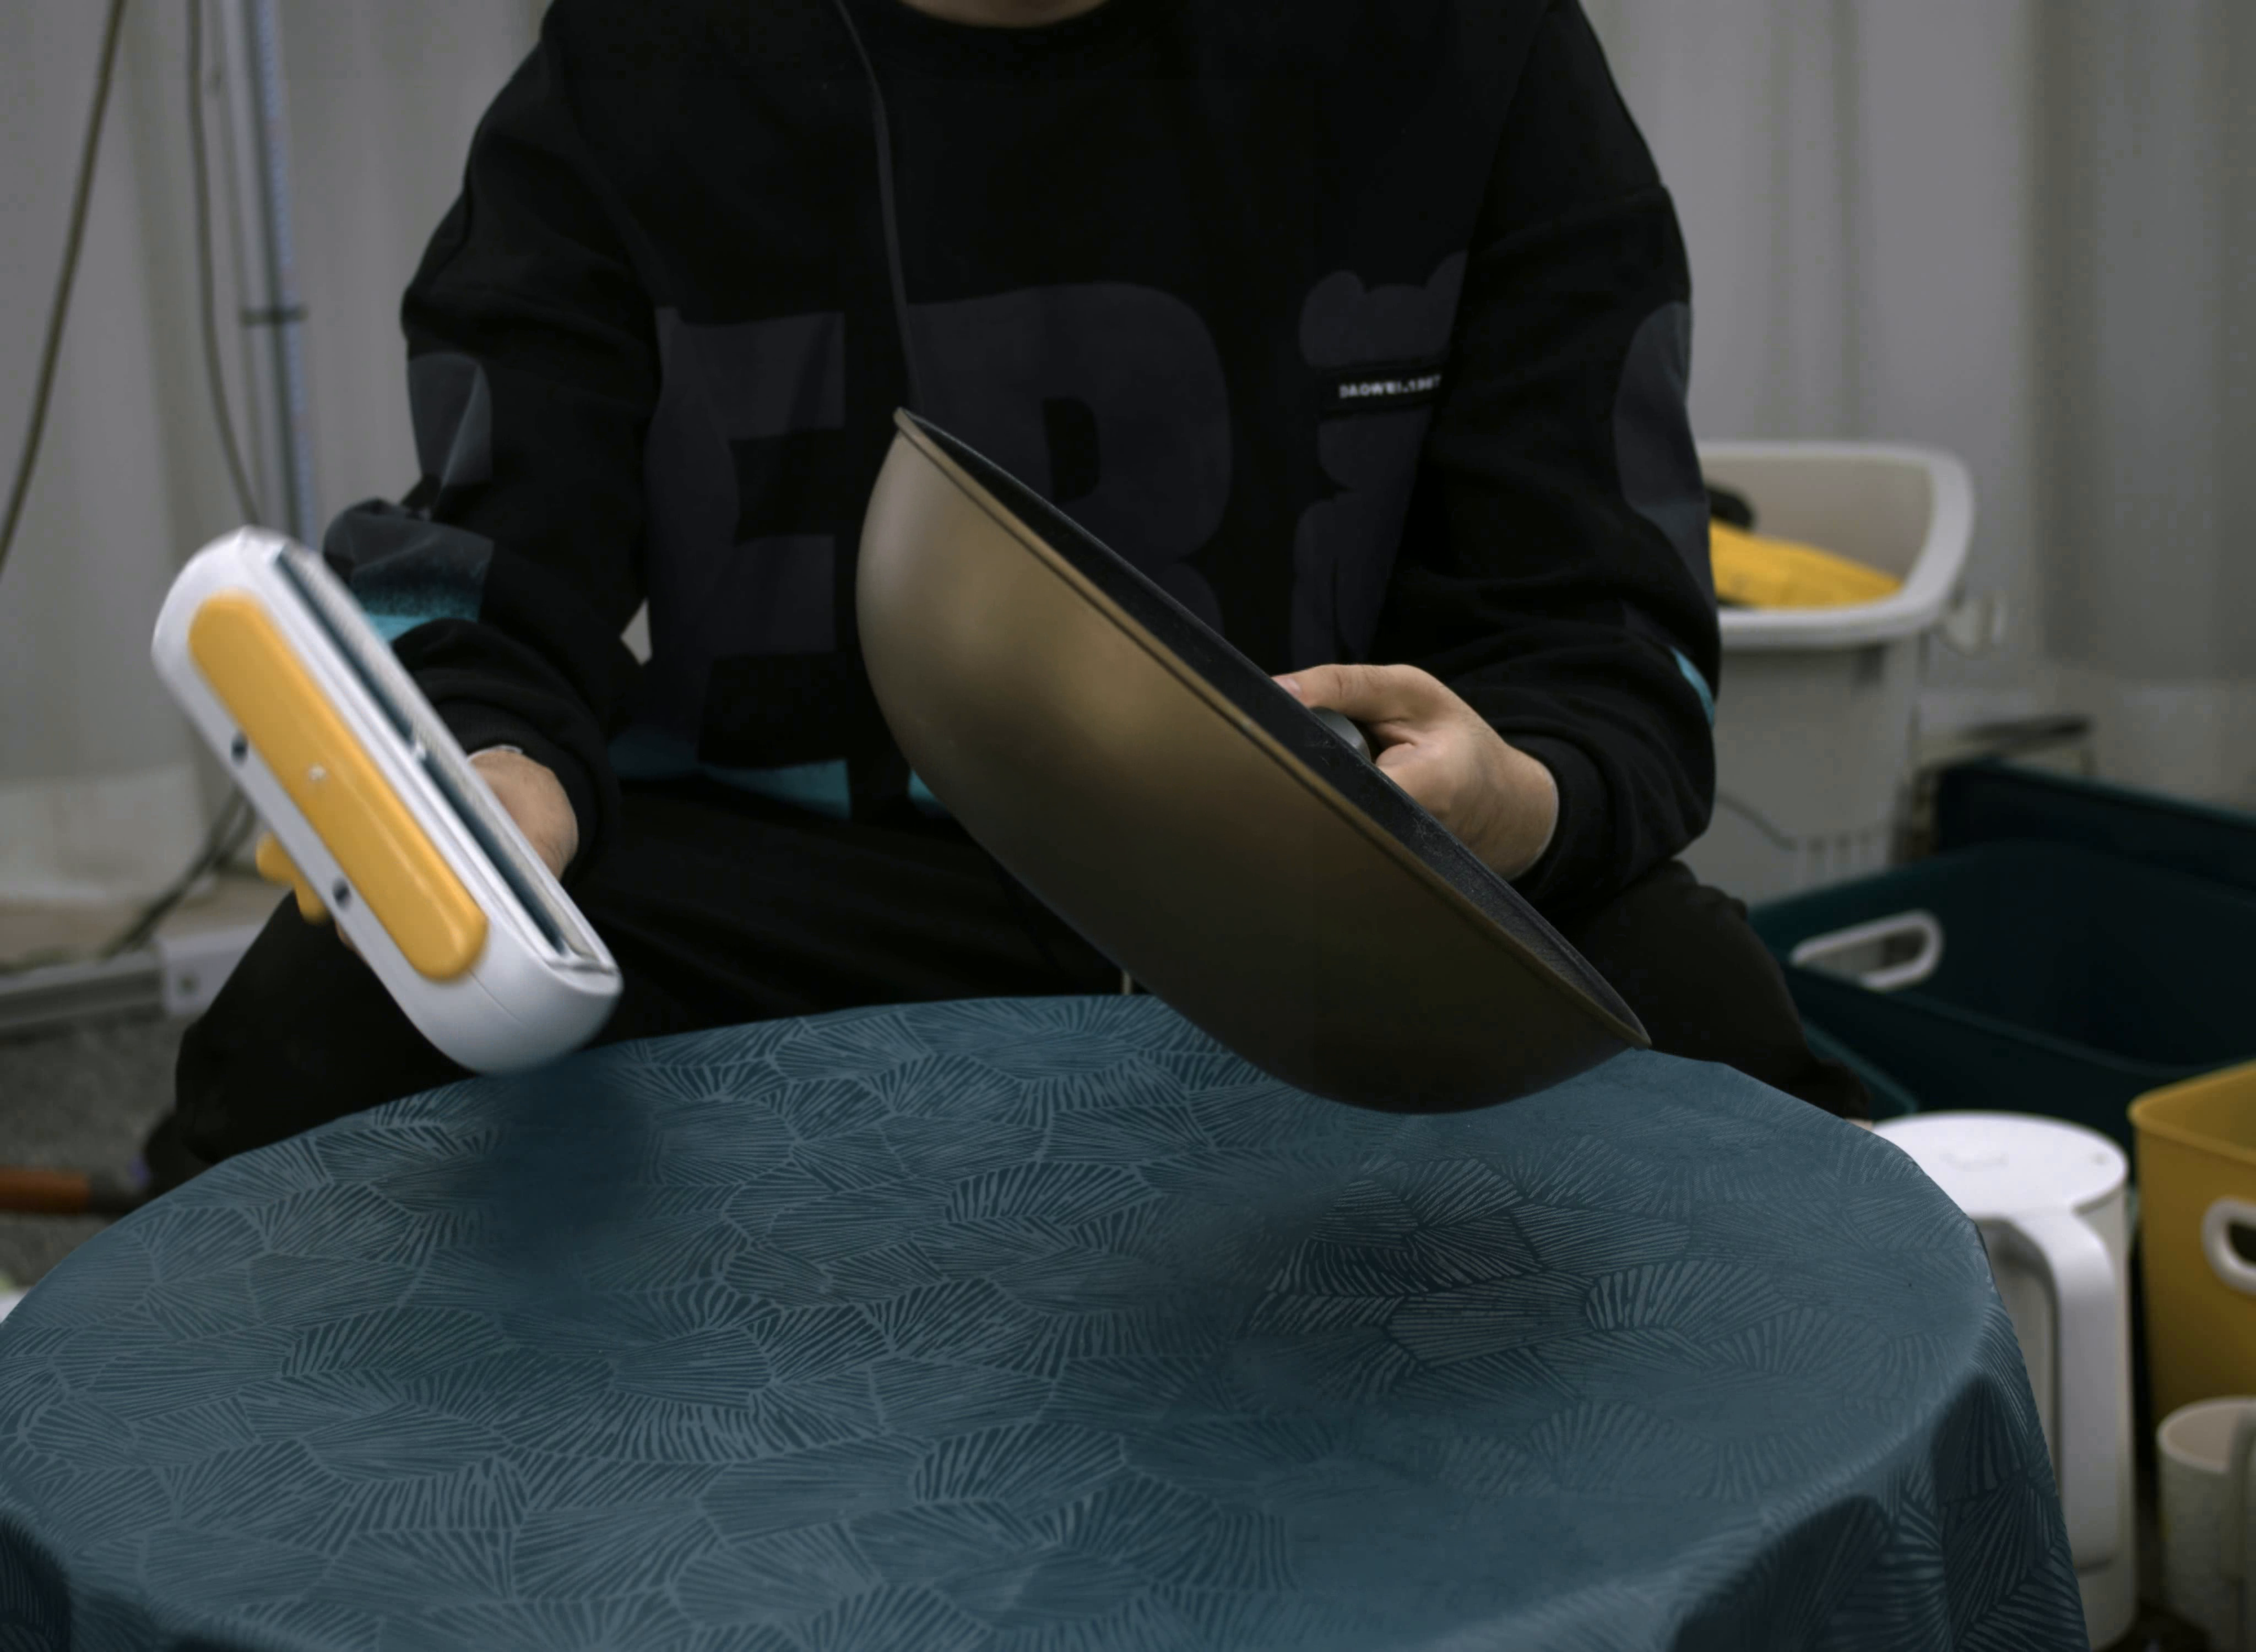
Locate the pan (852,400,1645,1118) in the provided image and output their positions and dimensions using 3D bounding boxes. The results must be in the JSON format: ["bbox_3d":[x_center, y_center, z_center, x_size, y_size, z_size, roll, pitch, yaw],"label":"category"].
[{"bbox_3d":[0.030,-0.003,1.682,0.289,0.087,0.462,41,4,6],"label":"pan"}]

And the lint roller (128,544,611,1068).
[{"bbox_3d":[-0.216,0.009,1.709,0.194,0.074,0.191,45,5,21],"label":"lint roller"}]
